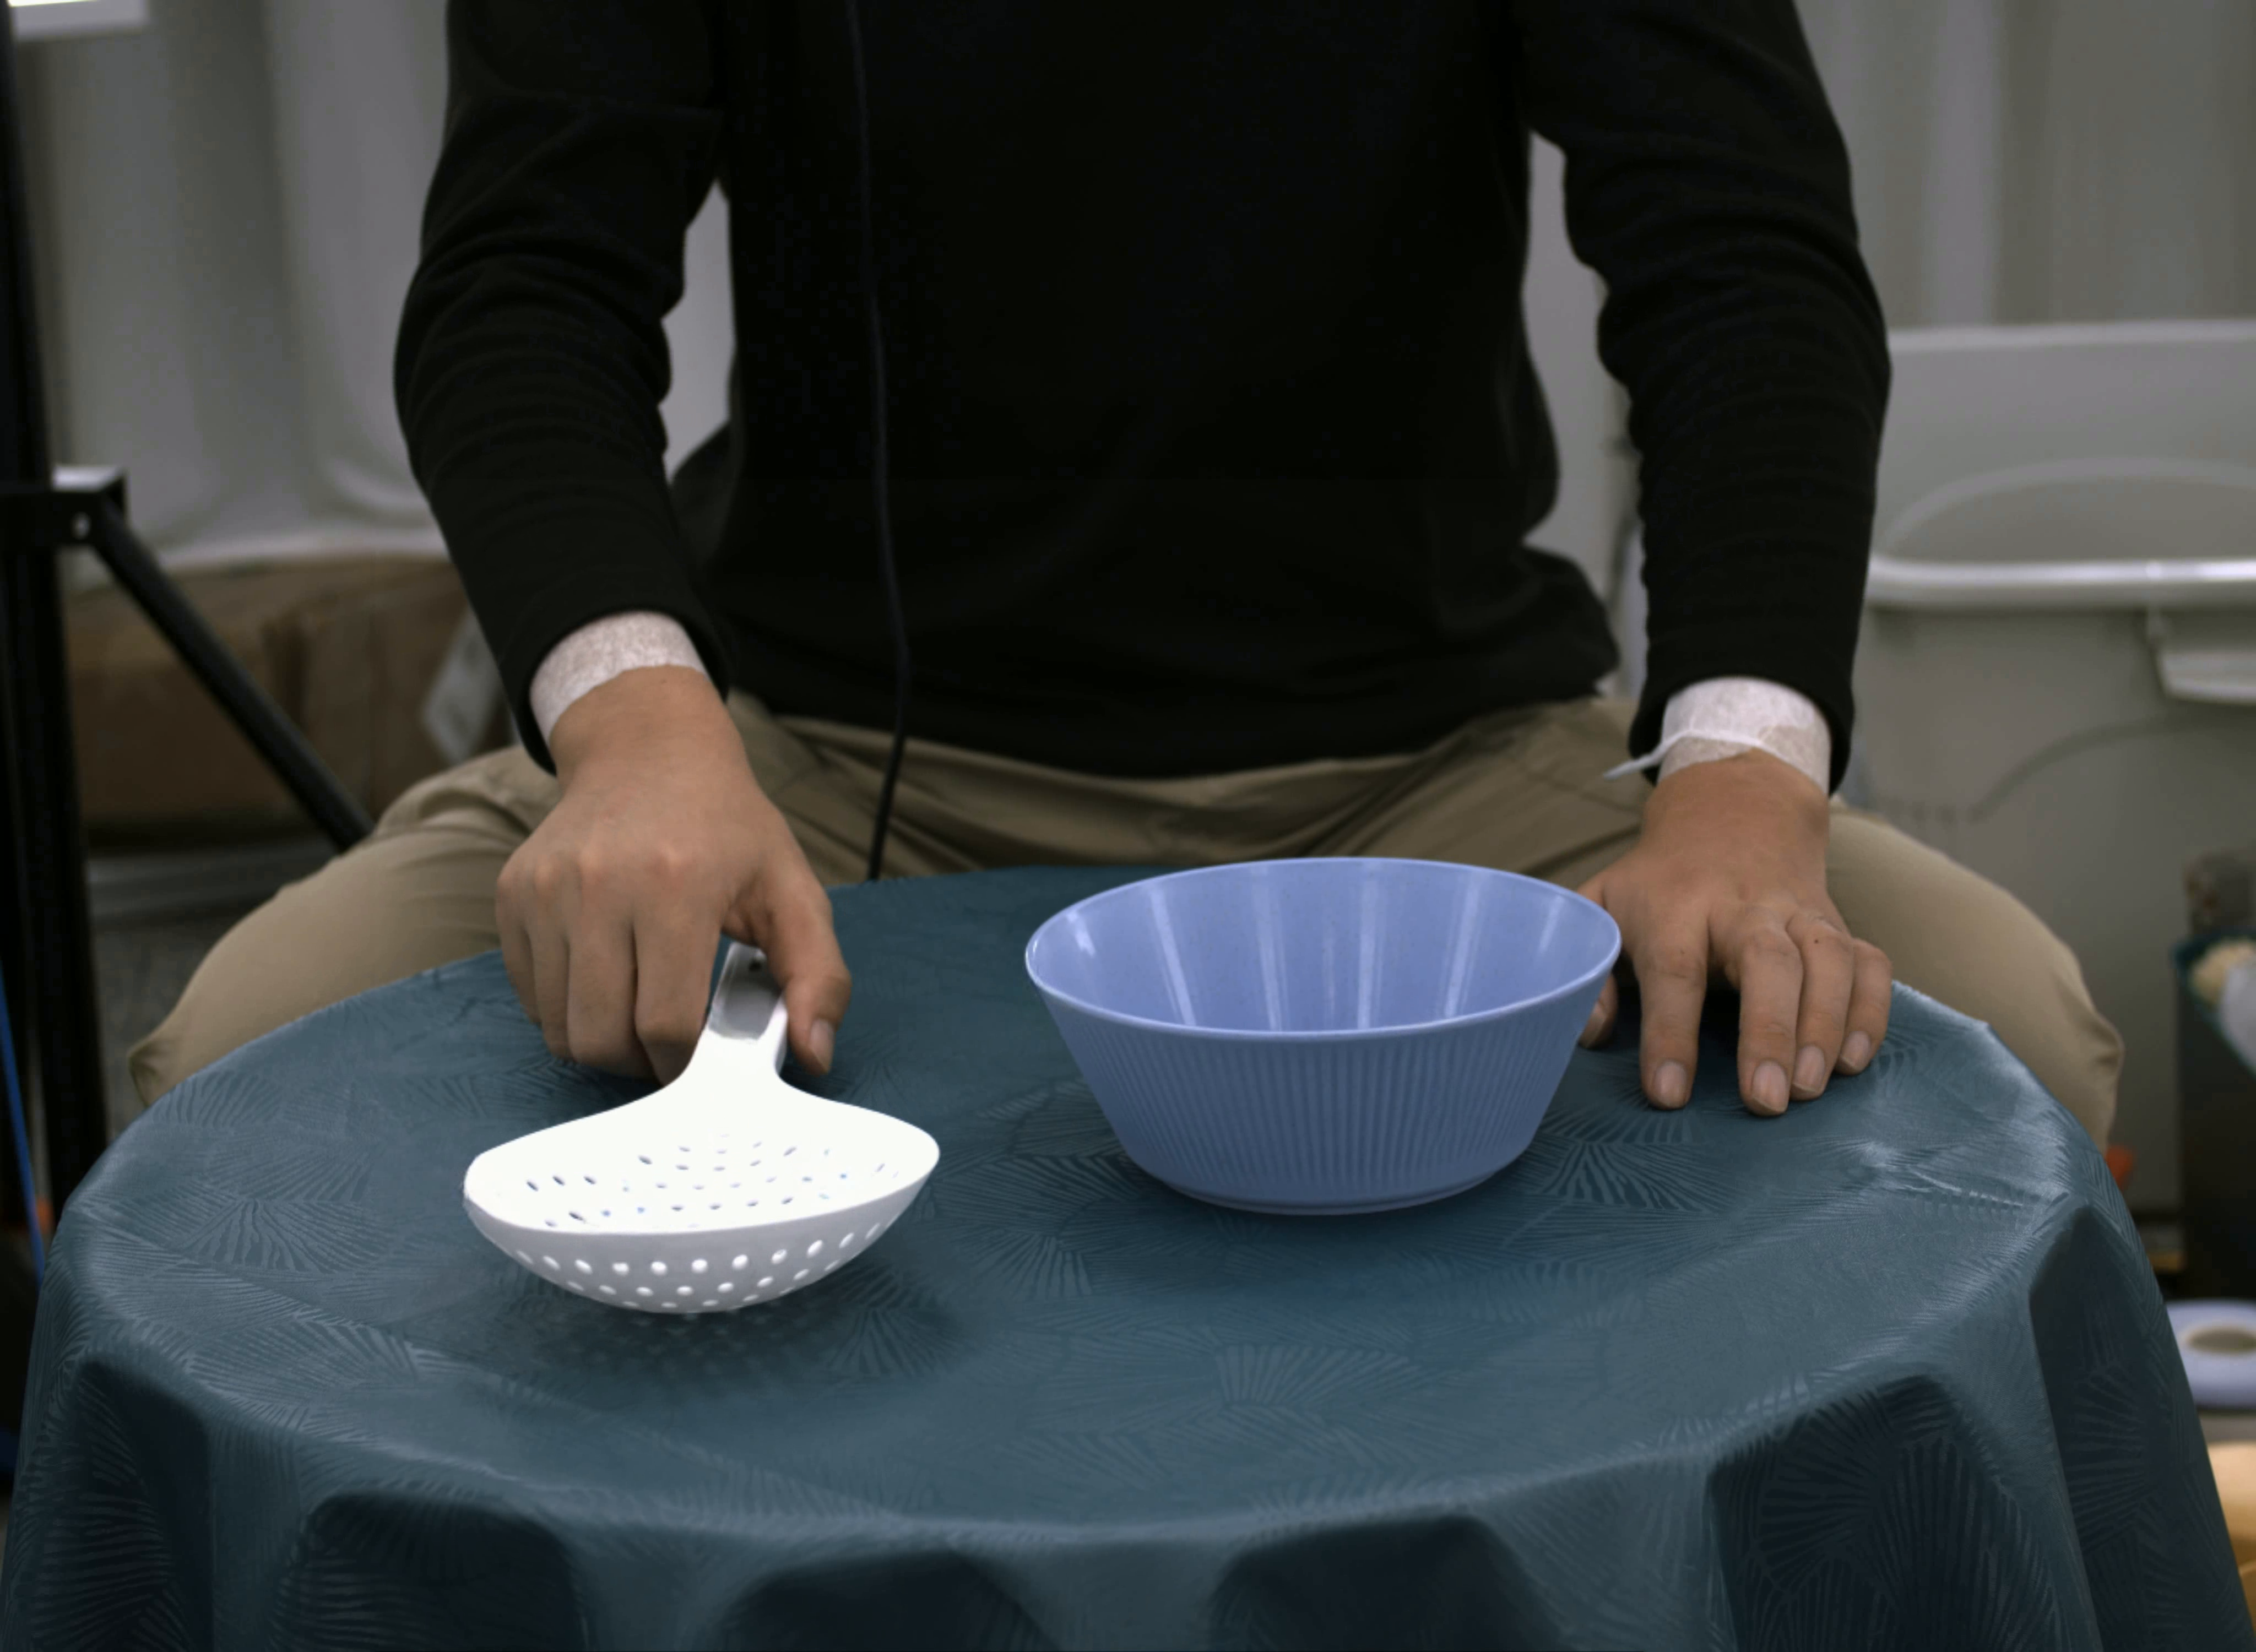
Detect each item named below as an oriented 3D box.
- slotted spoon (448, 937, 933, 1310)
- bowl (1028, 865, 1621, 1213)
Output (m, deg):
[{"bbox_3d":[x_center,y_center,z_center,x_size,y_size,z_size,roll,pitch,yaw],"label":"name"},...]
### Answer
[{"bbox_3d":[-0.120,0.079,1.586,0.135,0.046,0.351,-5,16,2],"label":"slotted spoon"},{"bbox_3d":[0.059,0.065,1.572,0.175,0.070,0.177,-3,14,-1],"label":"bowl"}]
